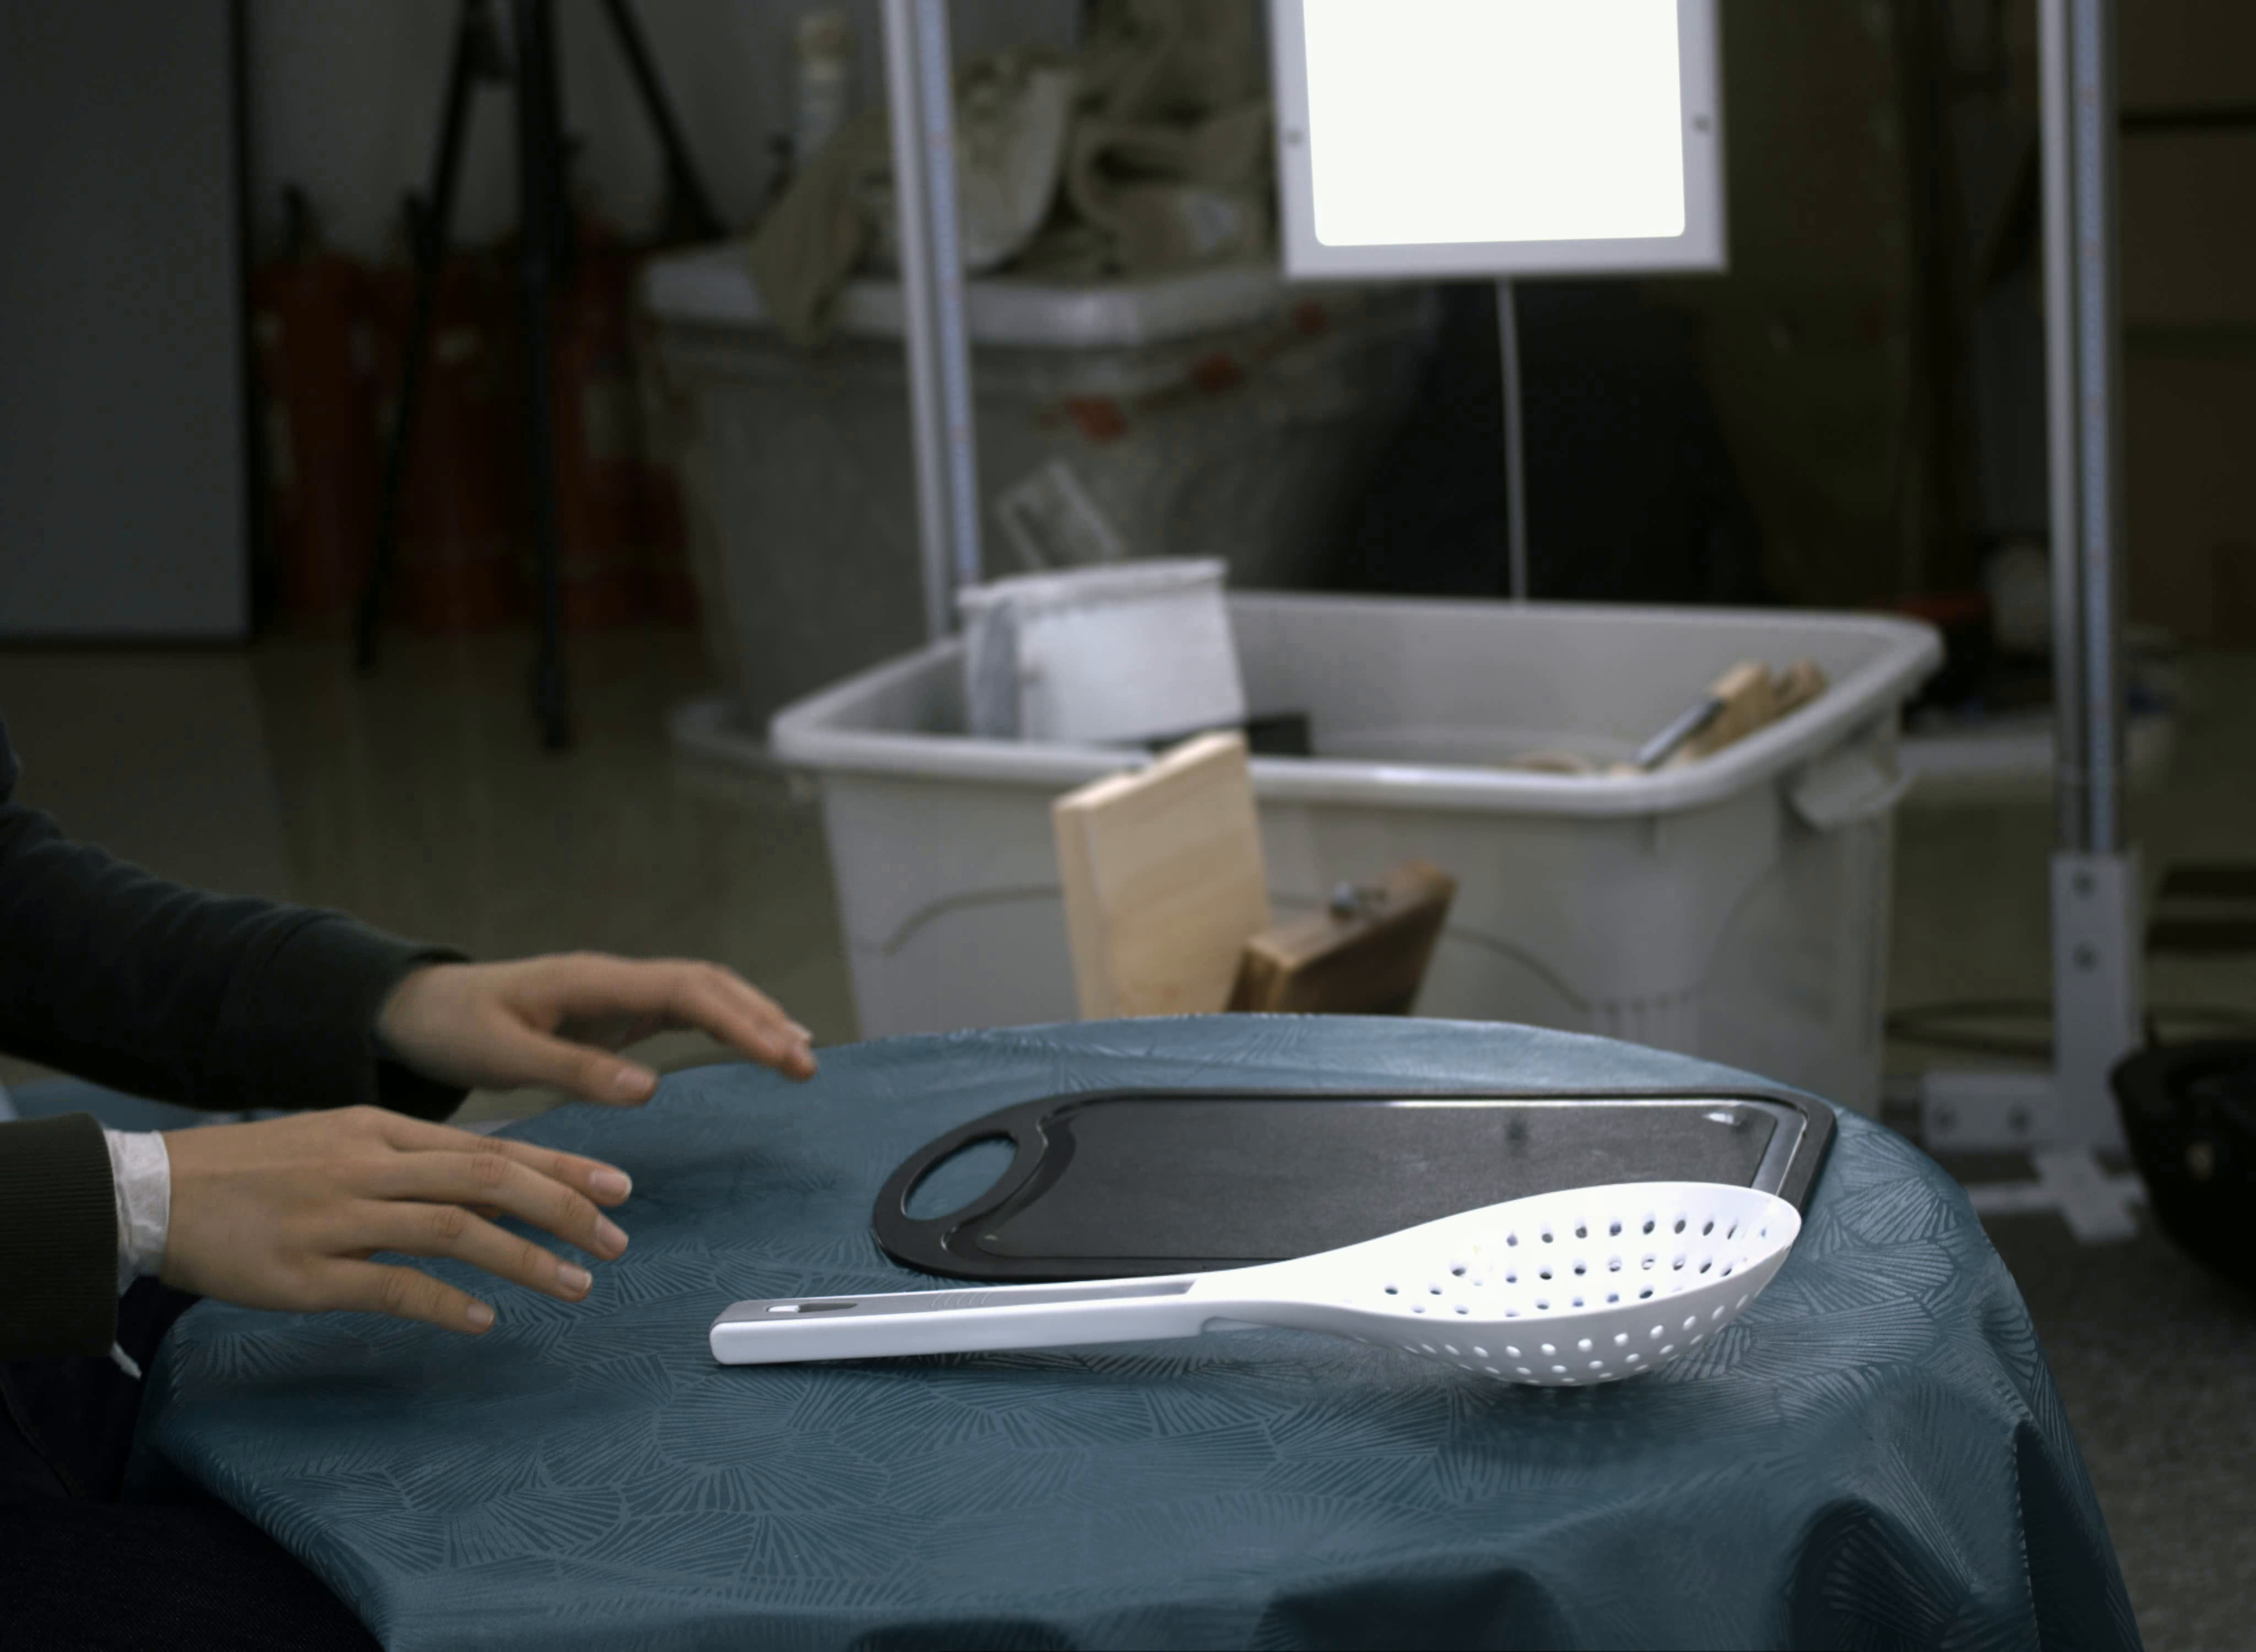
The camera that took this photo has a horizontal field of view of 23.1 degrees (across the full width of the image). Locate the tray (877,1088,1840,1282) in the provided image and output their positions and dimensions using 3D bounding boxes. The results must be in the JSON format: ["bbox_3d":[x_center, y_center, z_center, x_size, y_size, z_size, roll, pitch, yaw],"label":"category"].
[{"bbox_3d":[0.076,0.120,1.883,0.329,0.010,0.208,-1,14,17],"label":"tray"}]

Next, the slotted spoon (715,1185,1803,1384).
[{"bbox_3d":[0.037,0.146,1.708,0.354,0.046,0.134,-1,12,18],"label":"slotted spoon"}]
